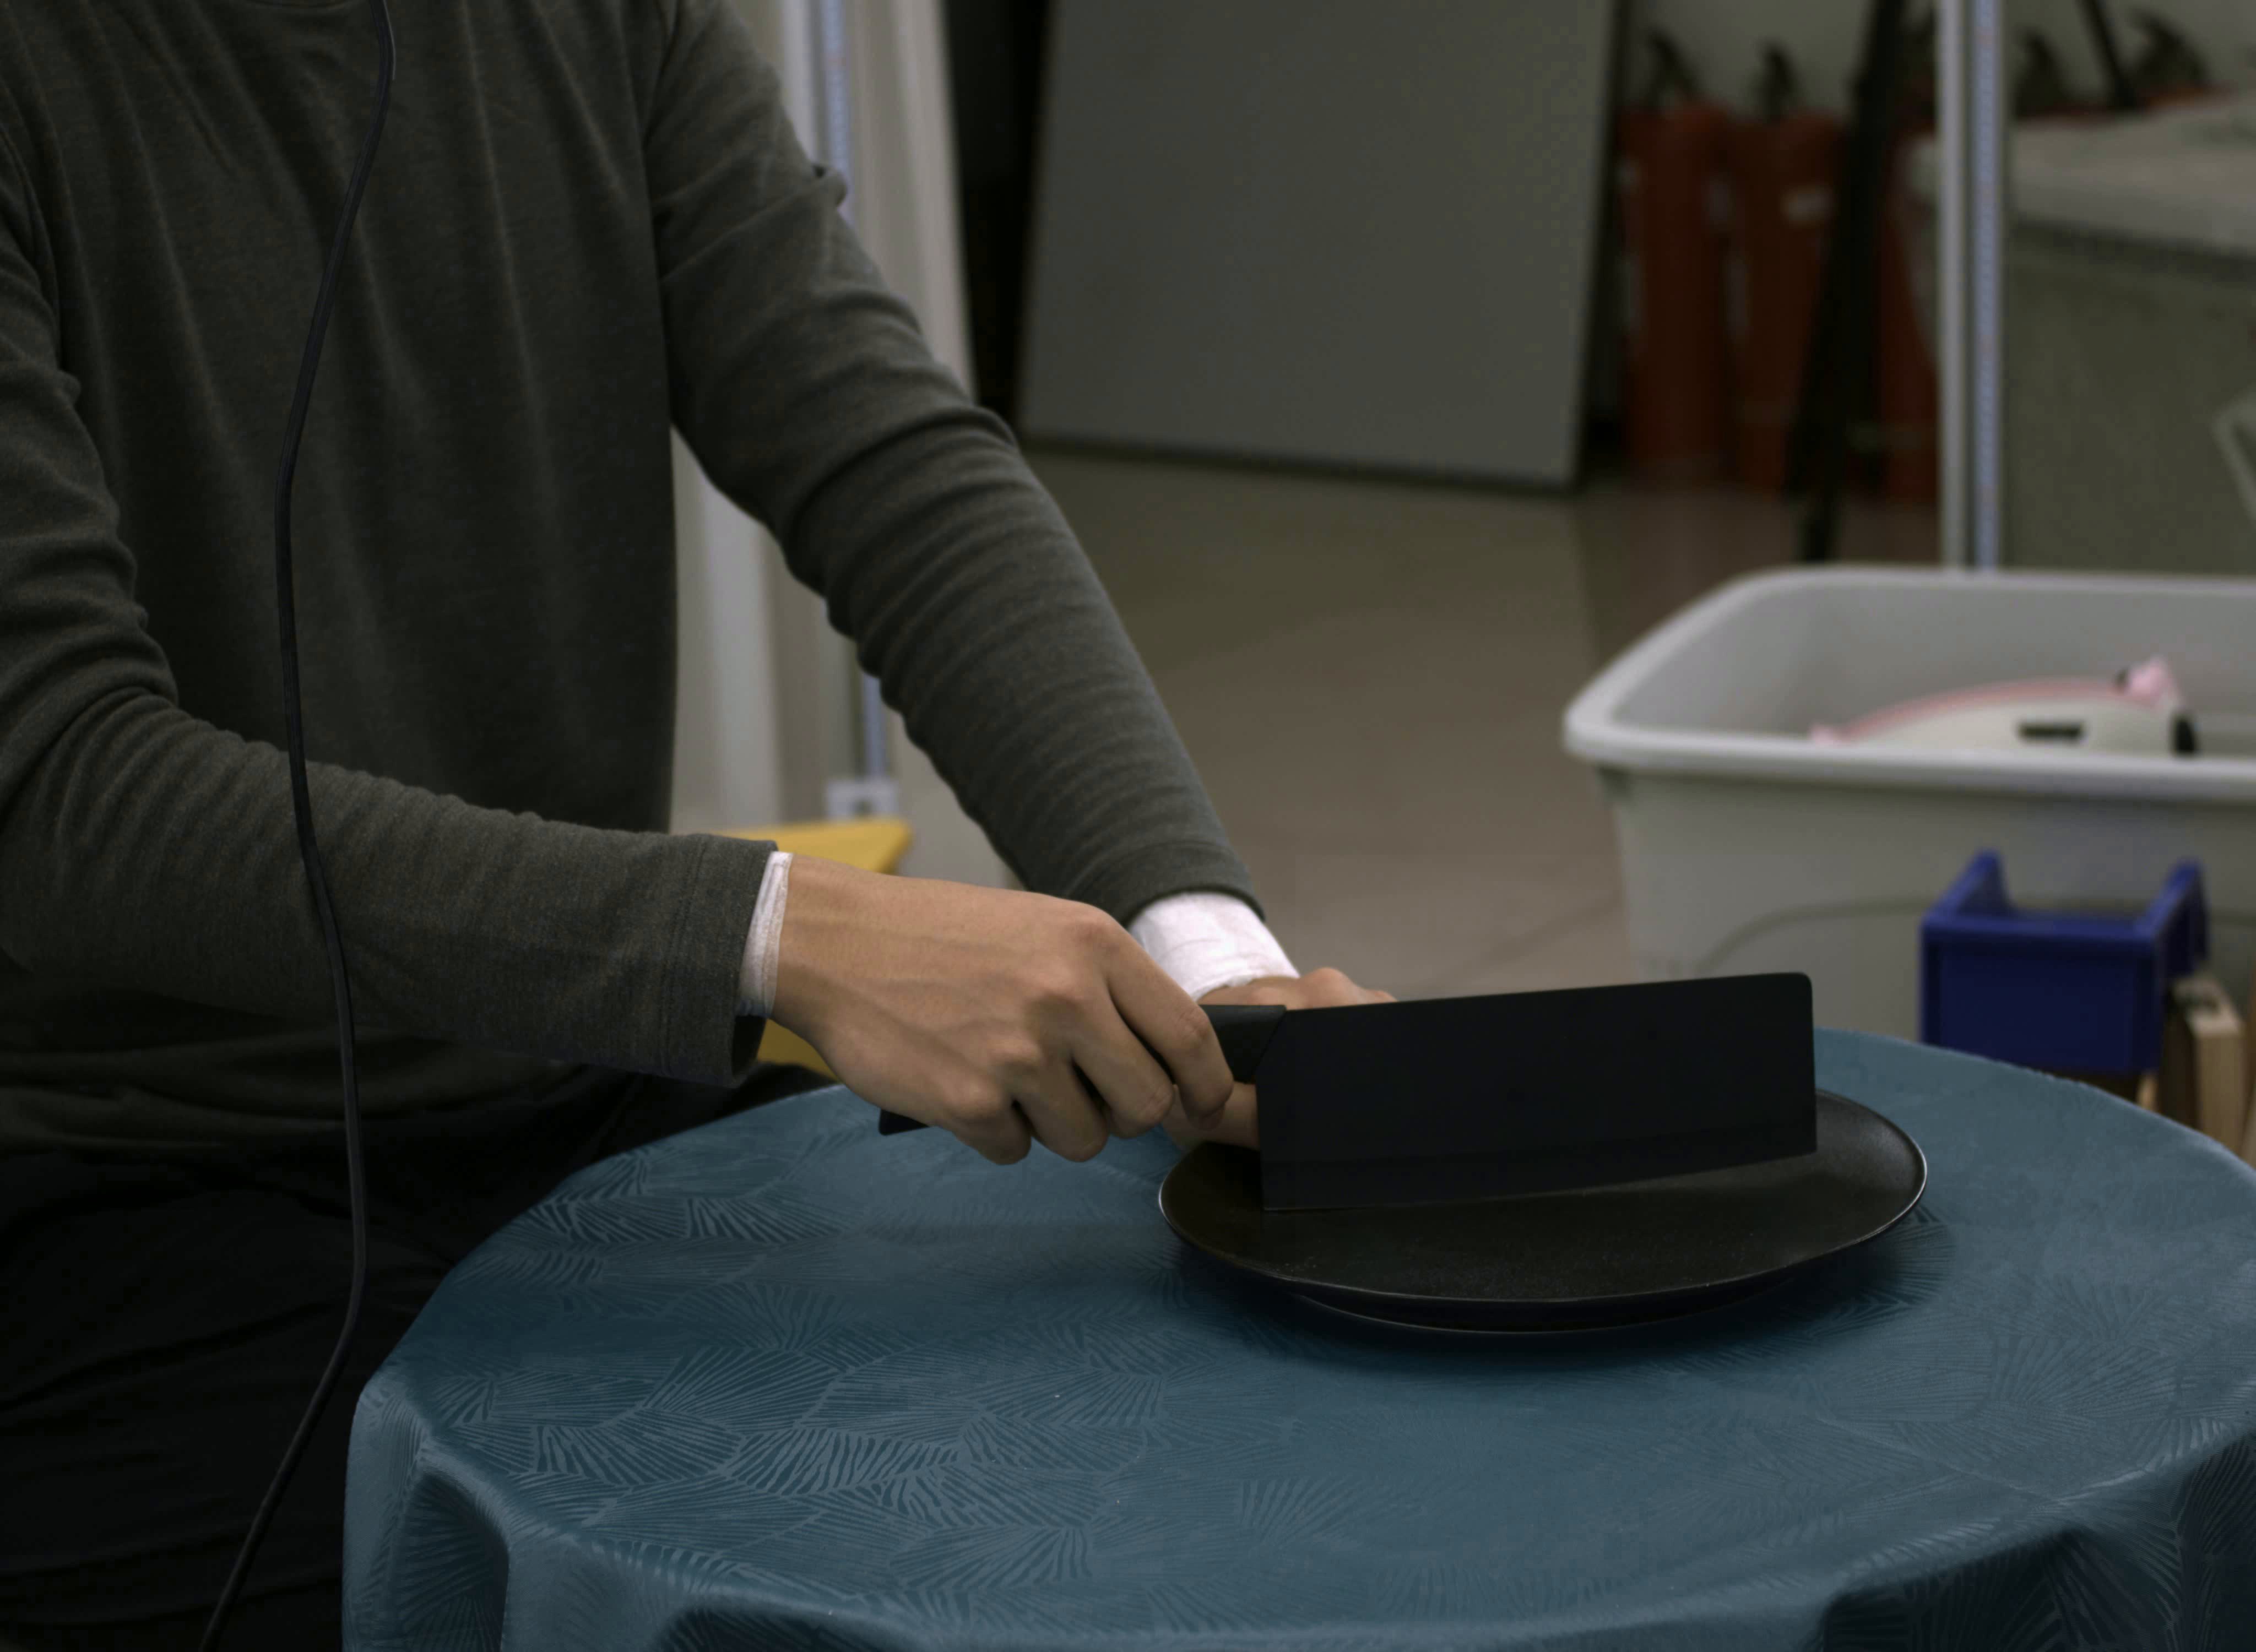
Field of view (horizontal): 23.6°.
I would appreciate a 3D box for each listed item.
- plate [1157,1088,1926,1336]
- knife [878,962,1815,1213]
[{"bbox_3d":[0.130,0.120,1.693,0.241,0.024,0.245,-4,14,0],"label":"plate"},{"bbox_3d":[0.070,0.083,1.706,0.298,0.082,0.021,0,8,-1],"label":"knife"}]
